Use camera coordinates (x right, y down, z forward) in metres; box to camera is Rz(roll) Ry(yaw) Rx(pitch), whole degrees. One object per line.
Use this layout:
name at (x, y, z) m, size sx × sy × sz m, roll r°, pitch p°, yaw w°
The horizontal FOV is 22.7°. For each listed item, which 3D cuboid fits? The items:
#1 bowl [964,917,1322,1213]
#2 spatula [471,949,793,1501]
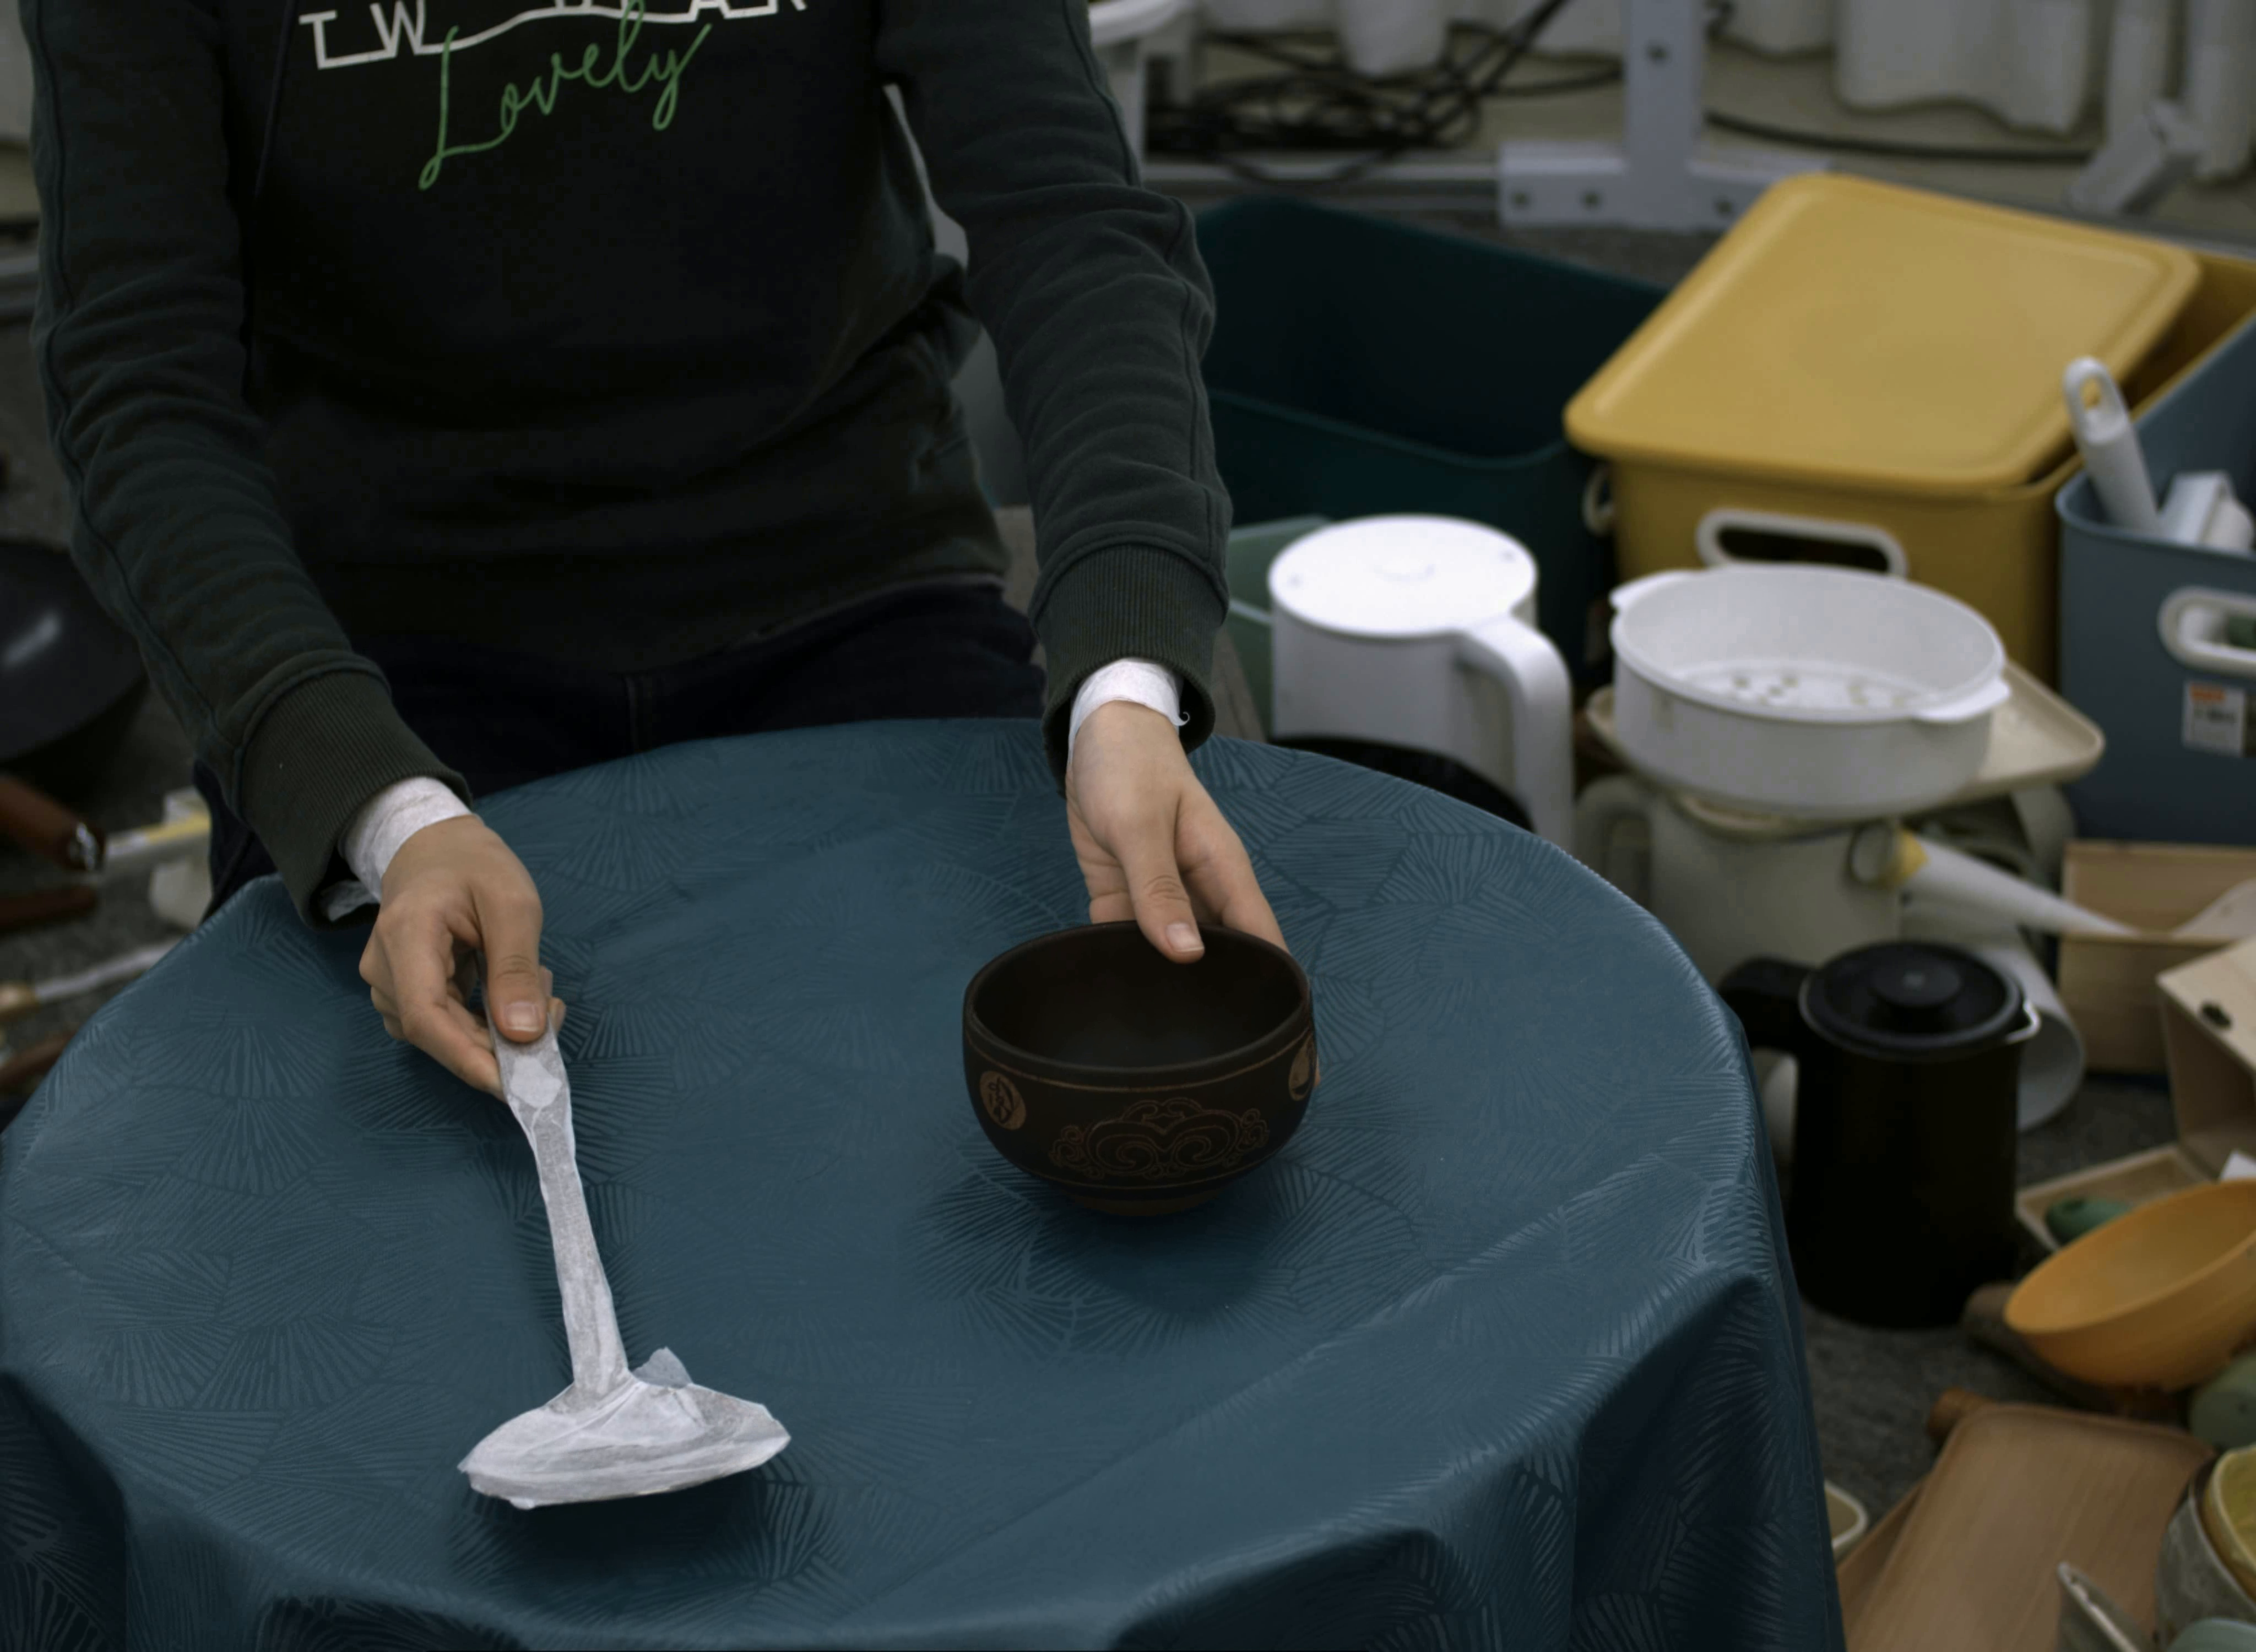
bowl at (0.005, 0.084, 1.851) m, size 0.117 × 0.069 × 0.119 m, roll -1°, pitch 22°, yaw 1°
spatula at (-0.179, 0.121, 1.823) m, size 0.098 × 0.044 × 0.370 m, roll -9°, pitch 32°, yaw -8°
